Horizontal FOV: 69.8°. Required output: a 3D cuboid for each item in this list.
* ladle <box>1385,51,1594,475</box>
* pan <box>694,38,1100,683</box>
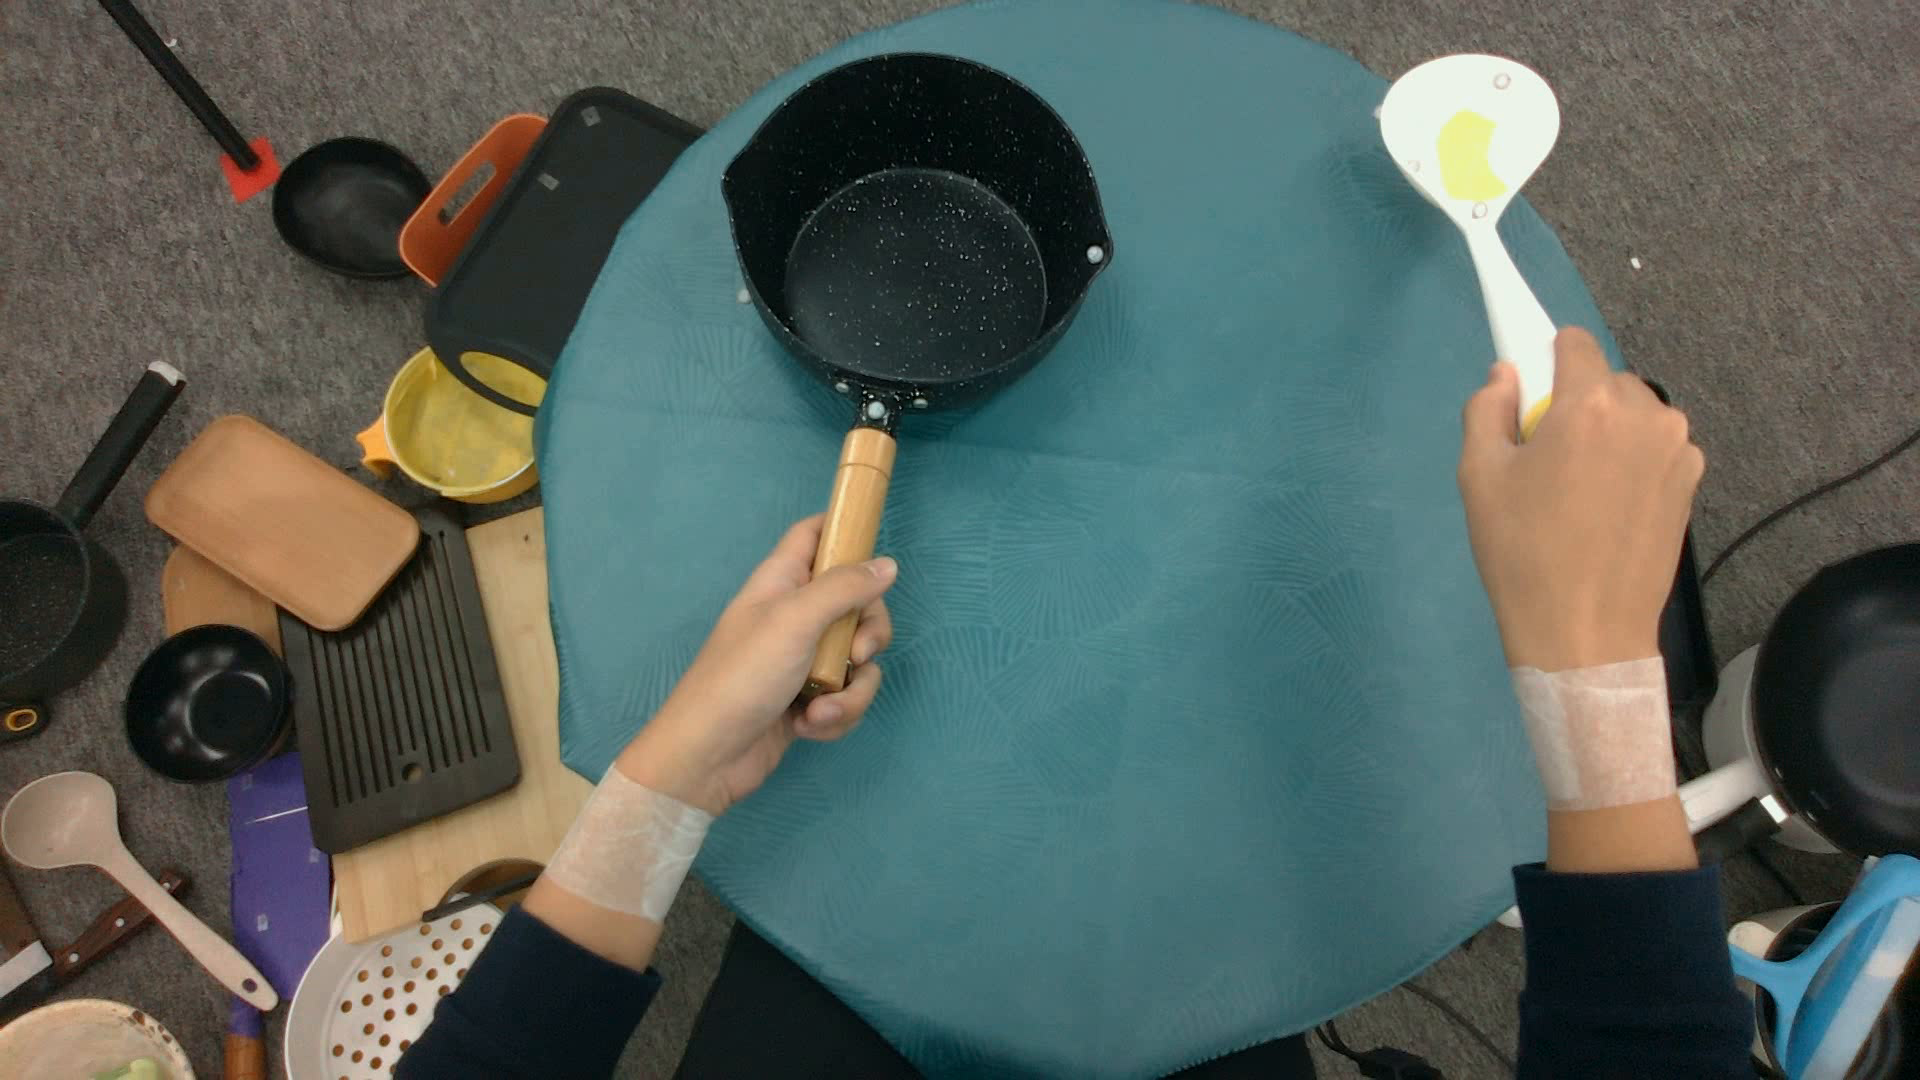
[{"bbox_3d":[0.259,-0.146,0.658,0.090,0.069,0.294,6,40,4],"label":"ladle"},{"bbox_3d":[-0.044,-0.087,0.692,0.207,0.108,0.344,9,72,-2],"label":"pan"}]
